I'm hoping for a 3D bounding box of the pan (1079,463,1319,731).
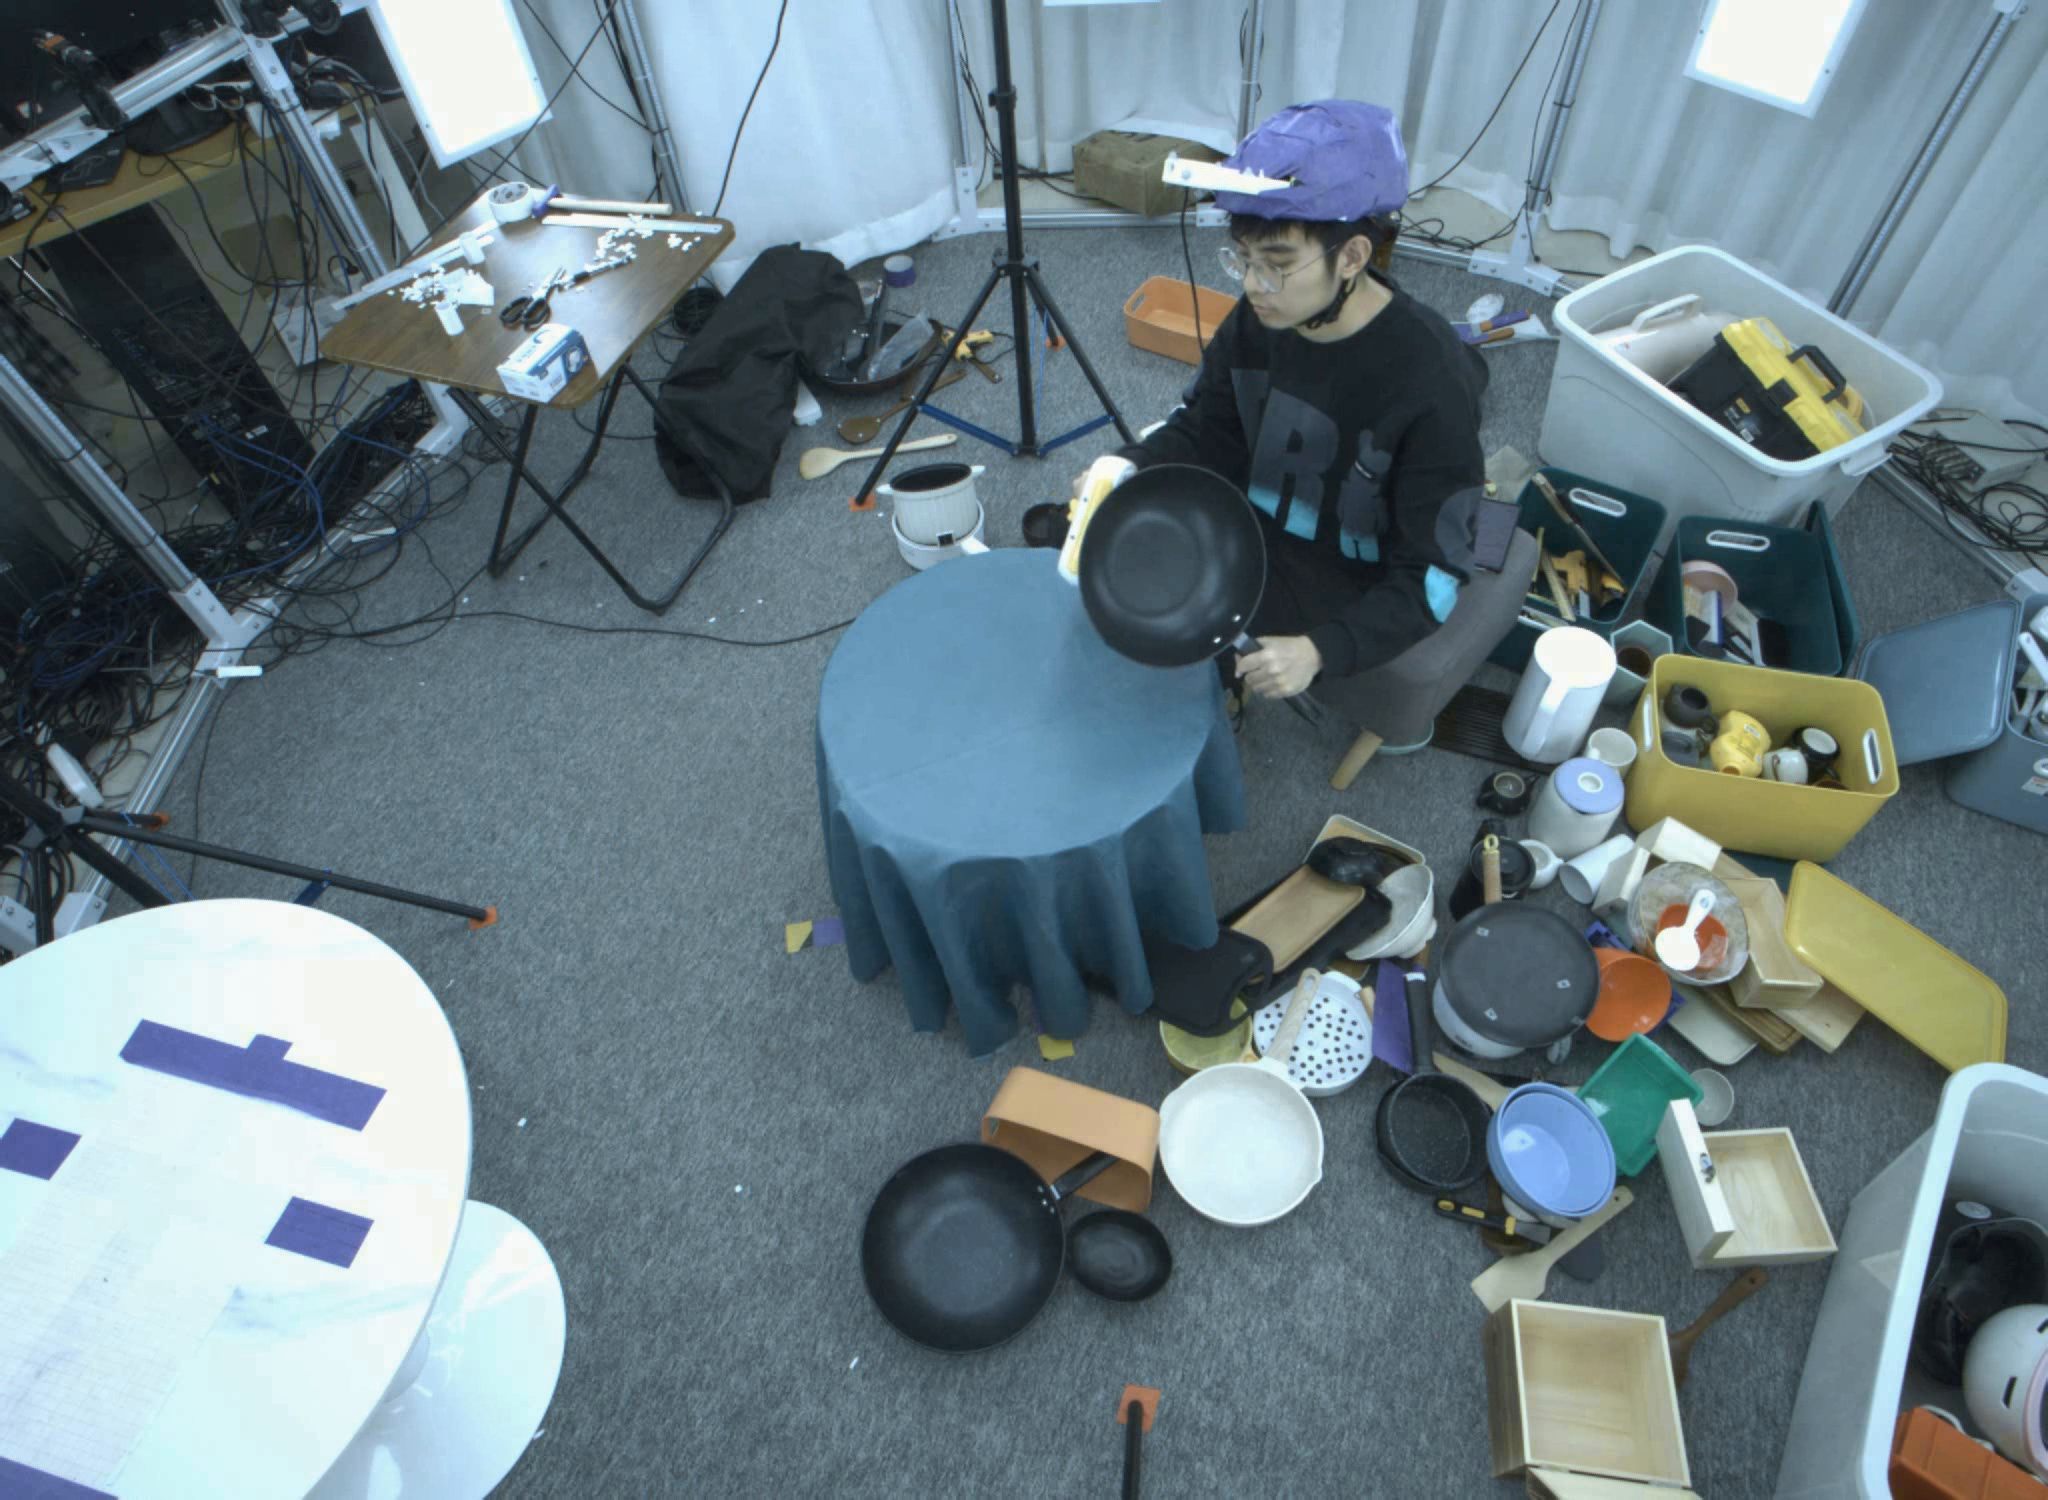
[{"bbox_3d":[0.260,-0.198,1.745,0.288,0.470,0.085,-49,21,-5],"label":"pan"}]

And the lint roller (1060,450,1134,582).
[{"bbox_3d":[0.110,-0.352,1.787,0.074,0.193,0.193,18,23,7],"label":"lint roller"}]
